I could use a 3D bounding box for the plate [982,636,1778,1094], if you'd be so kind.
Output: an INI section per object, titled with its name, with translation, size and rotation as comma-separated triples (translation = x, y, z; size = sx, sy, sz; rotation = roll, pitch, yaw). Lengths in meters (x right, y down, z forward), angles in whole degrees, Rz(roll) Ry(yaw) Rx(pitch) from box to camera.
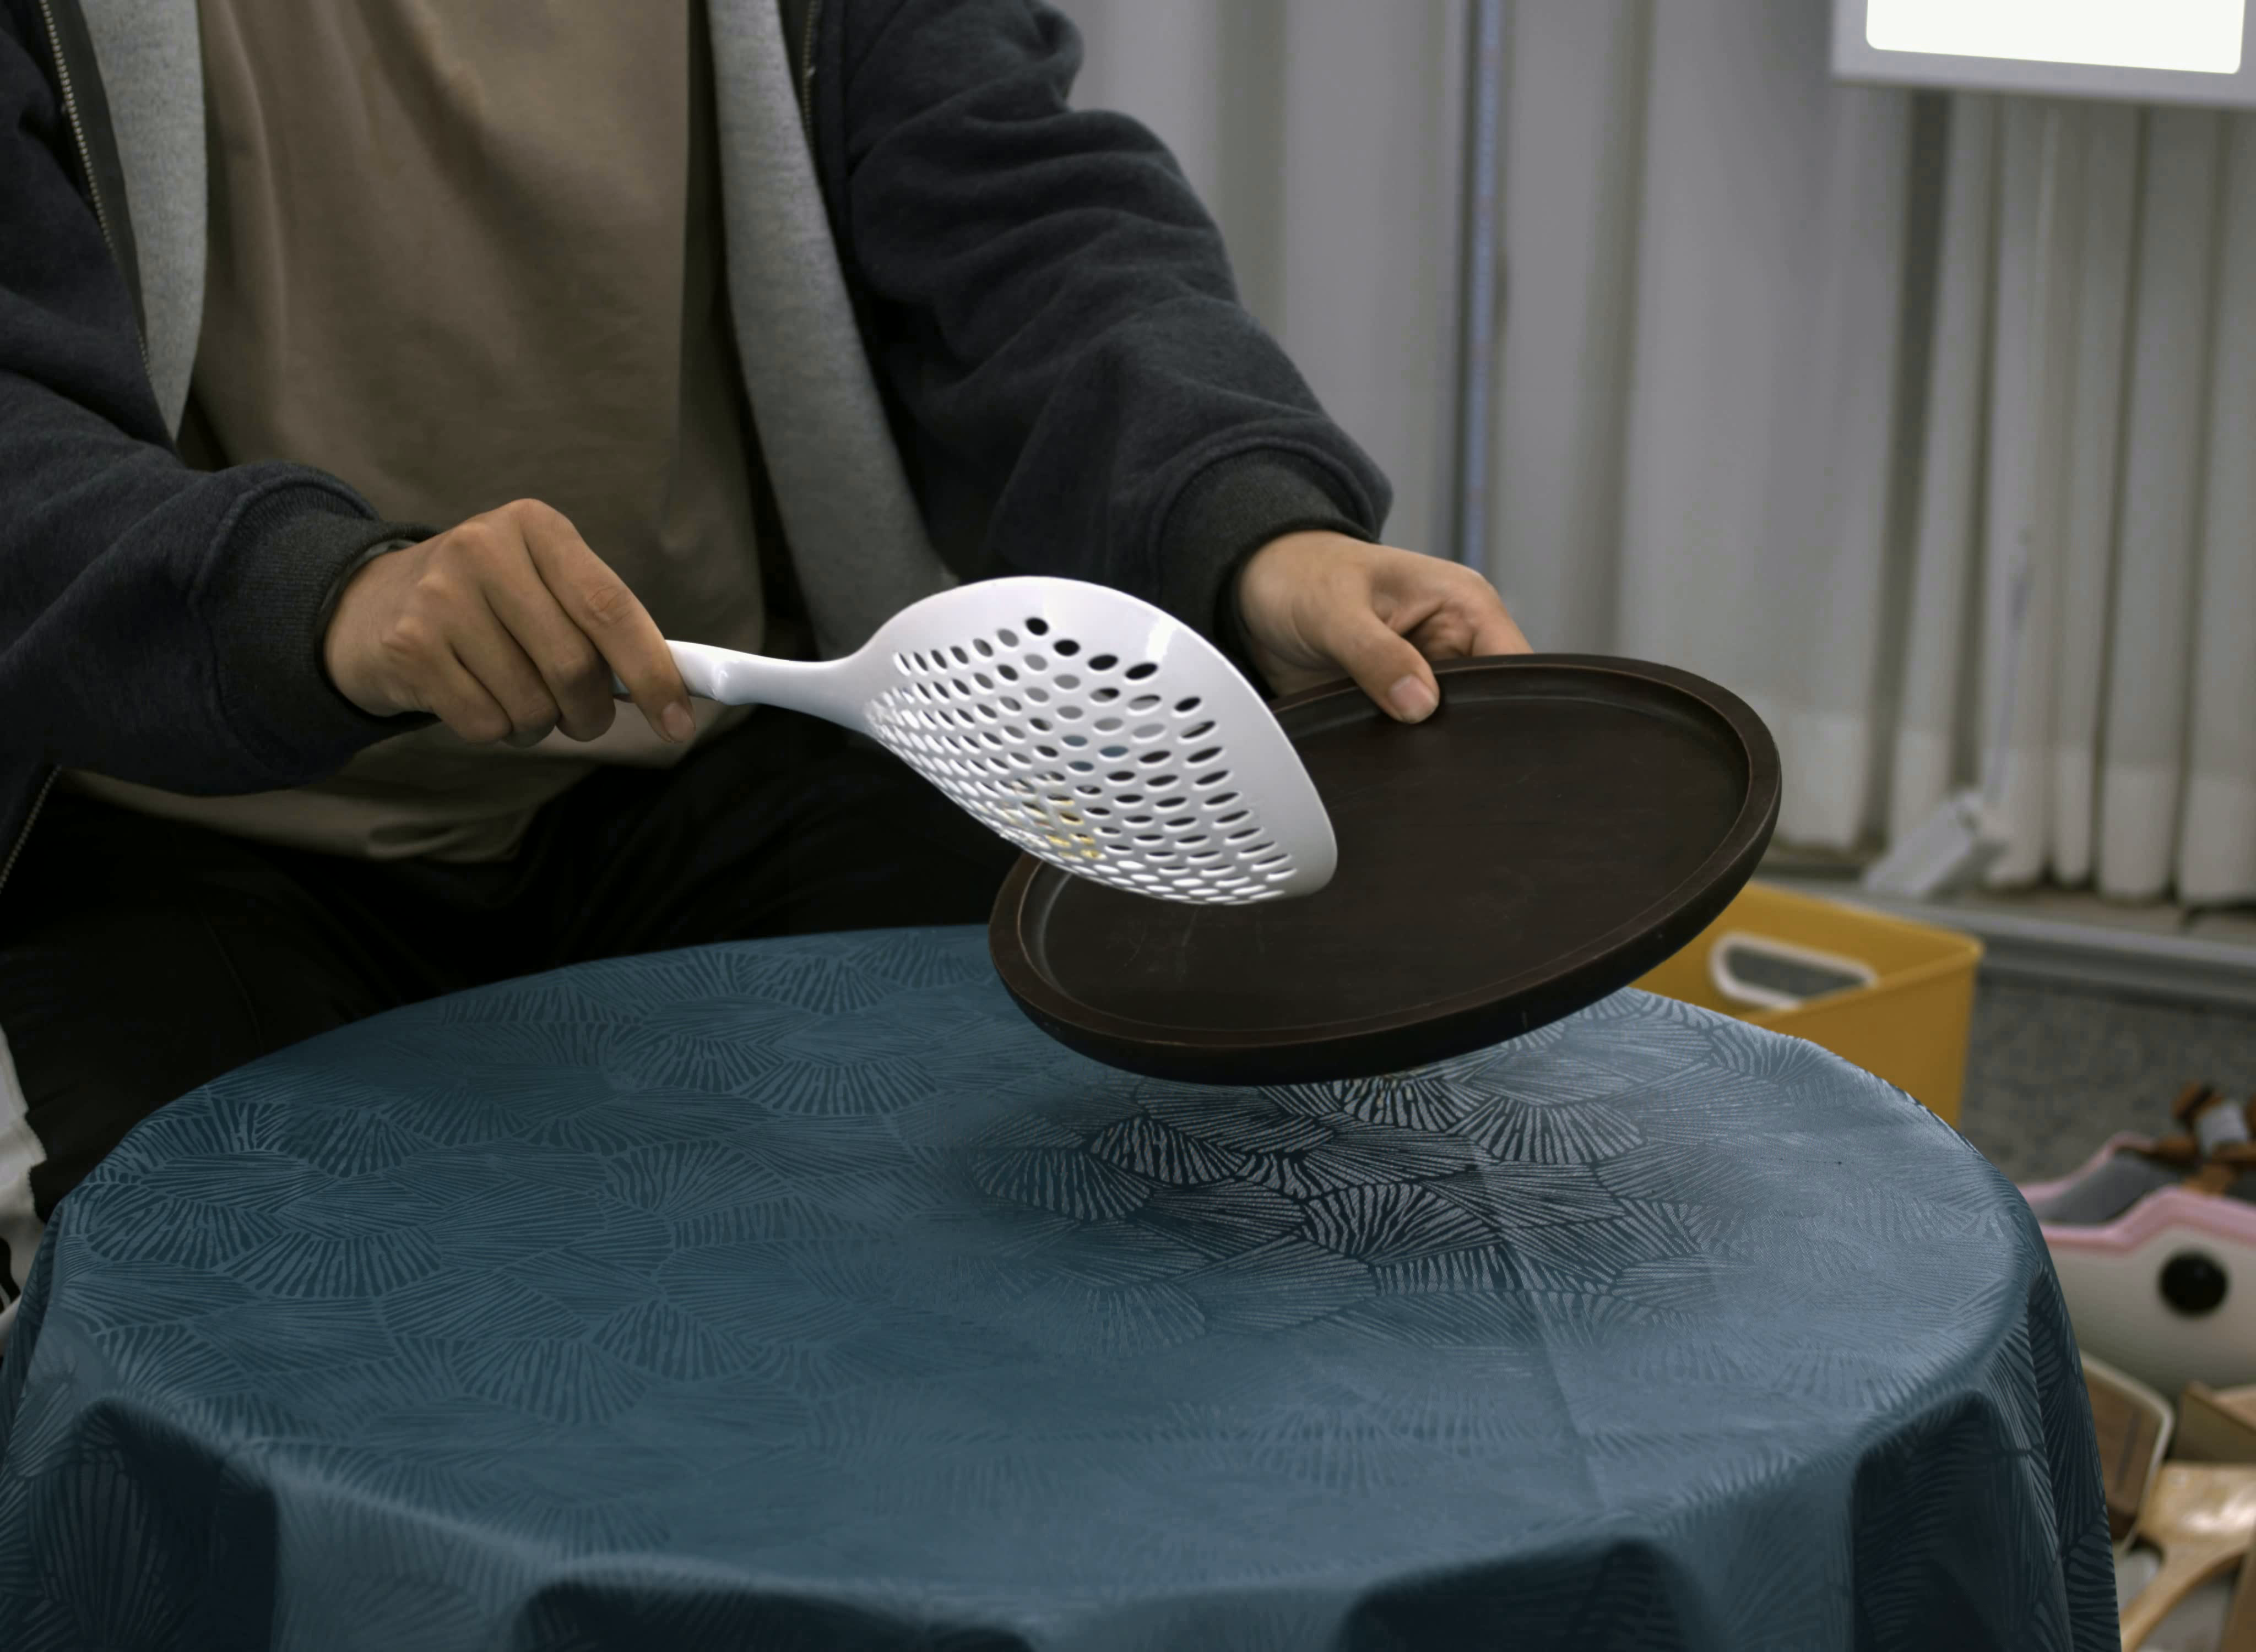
[plate]
translation = 0.079, 0.013, 1.638
size = 0.253, 0.029, 0.253
rotation = -13, 25, 7

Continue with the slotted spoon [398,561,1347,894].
[slotted spoon]
translation = -0.087, -0.035, 1.598
size = 0.343, 0.139, 0.050
rotation = 13, 57, 39
